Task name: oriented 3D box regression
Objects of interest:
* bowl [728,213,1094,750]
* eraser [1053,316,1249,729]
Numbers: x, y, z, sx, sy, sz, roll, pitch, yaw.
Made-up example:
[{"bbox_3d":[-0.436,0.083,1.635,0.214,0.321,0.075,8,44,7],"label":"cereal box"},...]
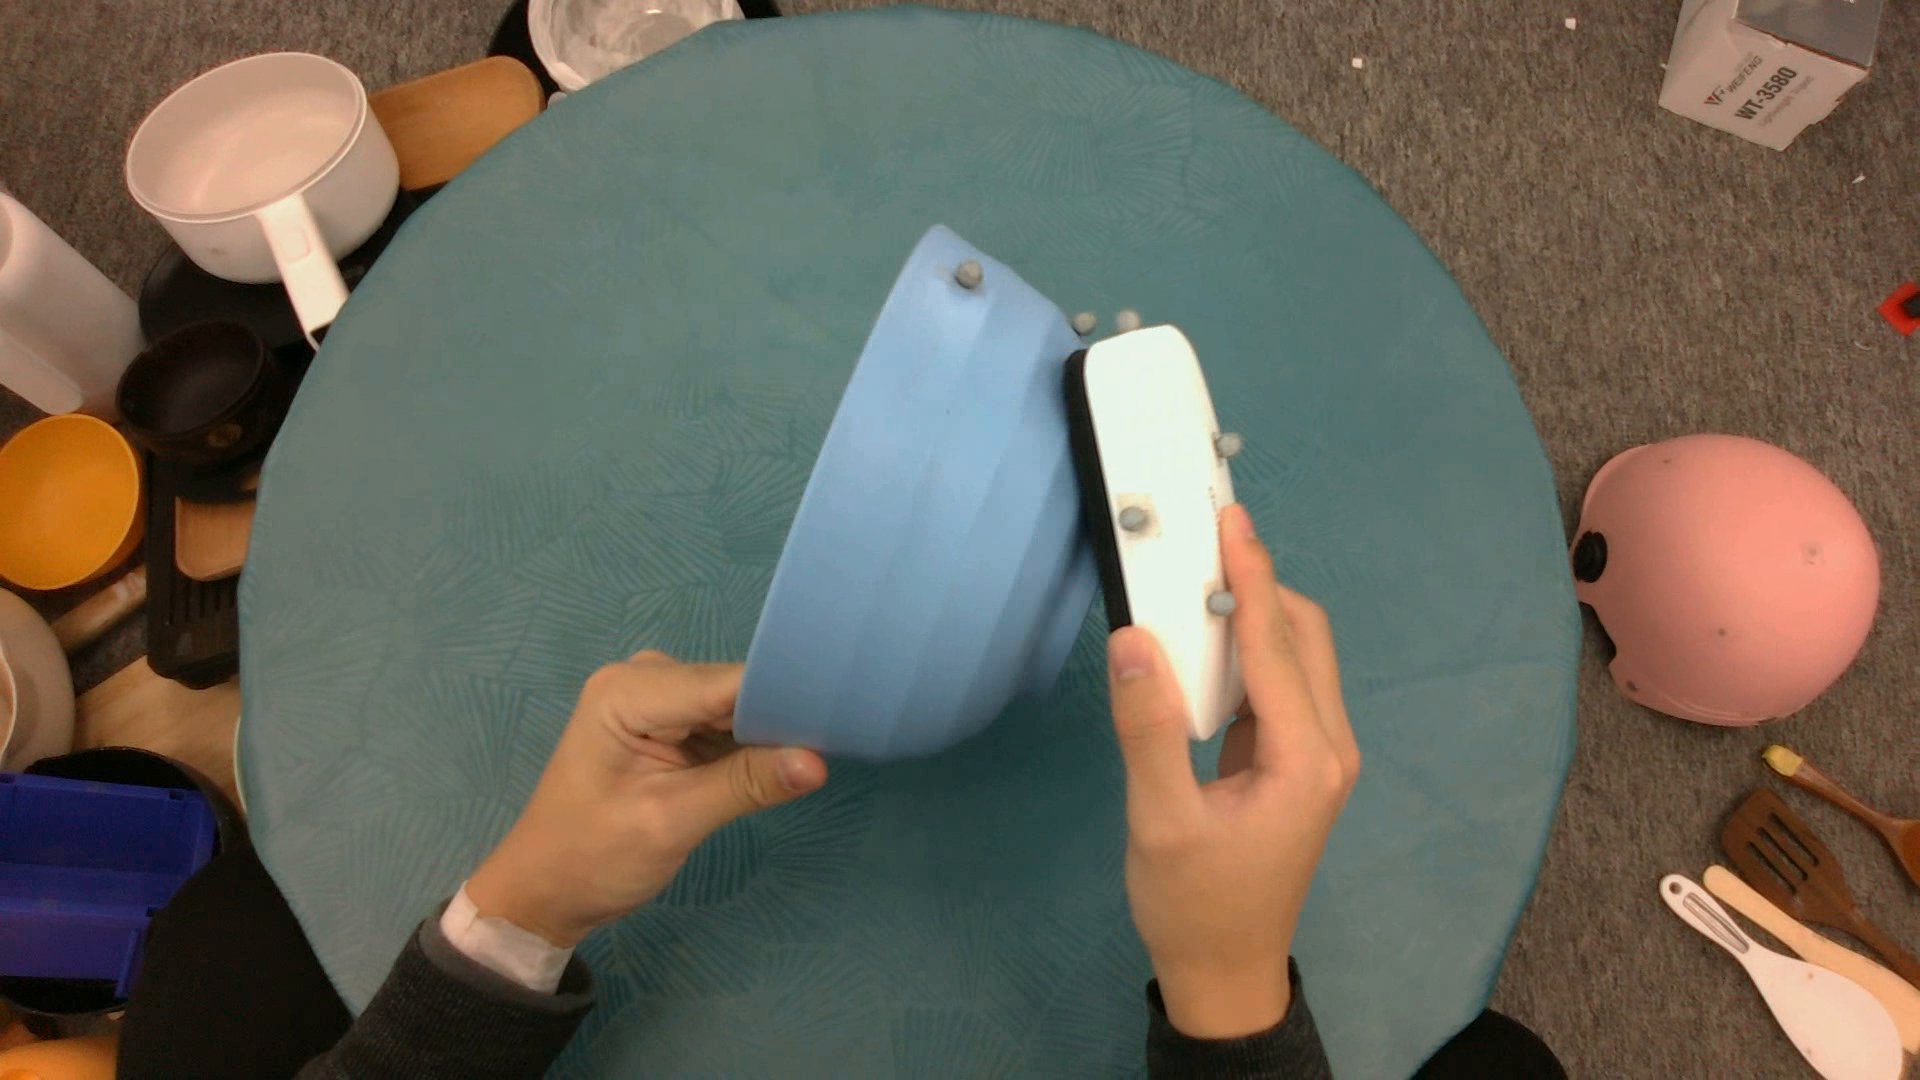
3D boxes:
[{"bbox_3d":[-0.001,-0.006,0.492,0.095,0.196,0.197,23,72,-1],"label":"bowl"},{"bbox_3d":[0.065,-0.006,0.447,0.034,0.063,0.131,-9,96,30],"label":"eraser"}]
